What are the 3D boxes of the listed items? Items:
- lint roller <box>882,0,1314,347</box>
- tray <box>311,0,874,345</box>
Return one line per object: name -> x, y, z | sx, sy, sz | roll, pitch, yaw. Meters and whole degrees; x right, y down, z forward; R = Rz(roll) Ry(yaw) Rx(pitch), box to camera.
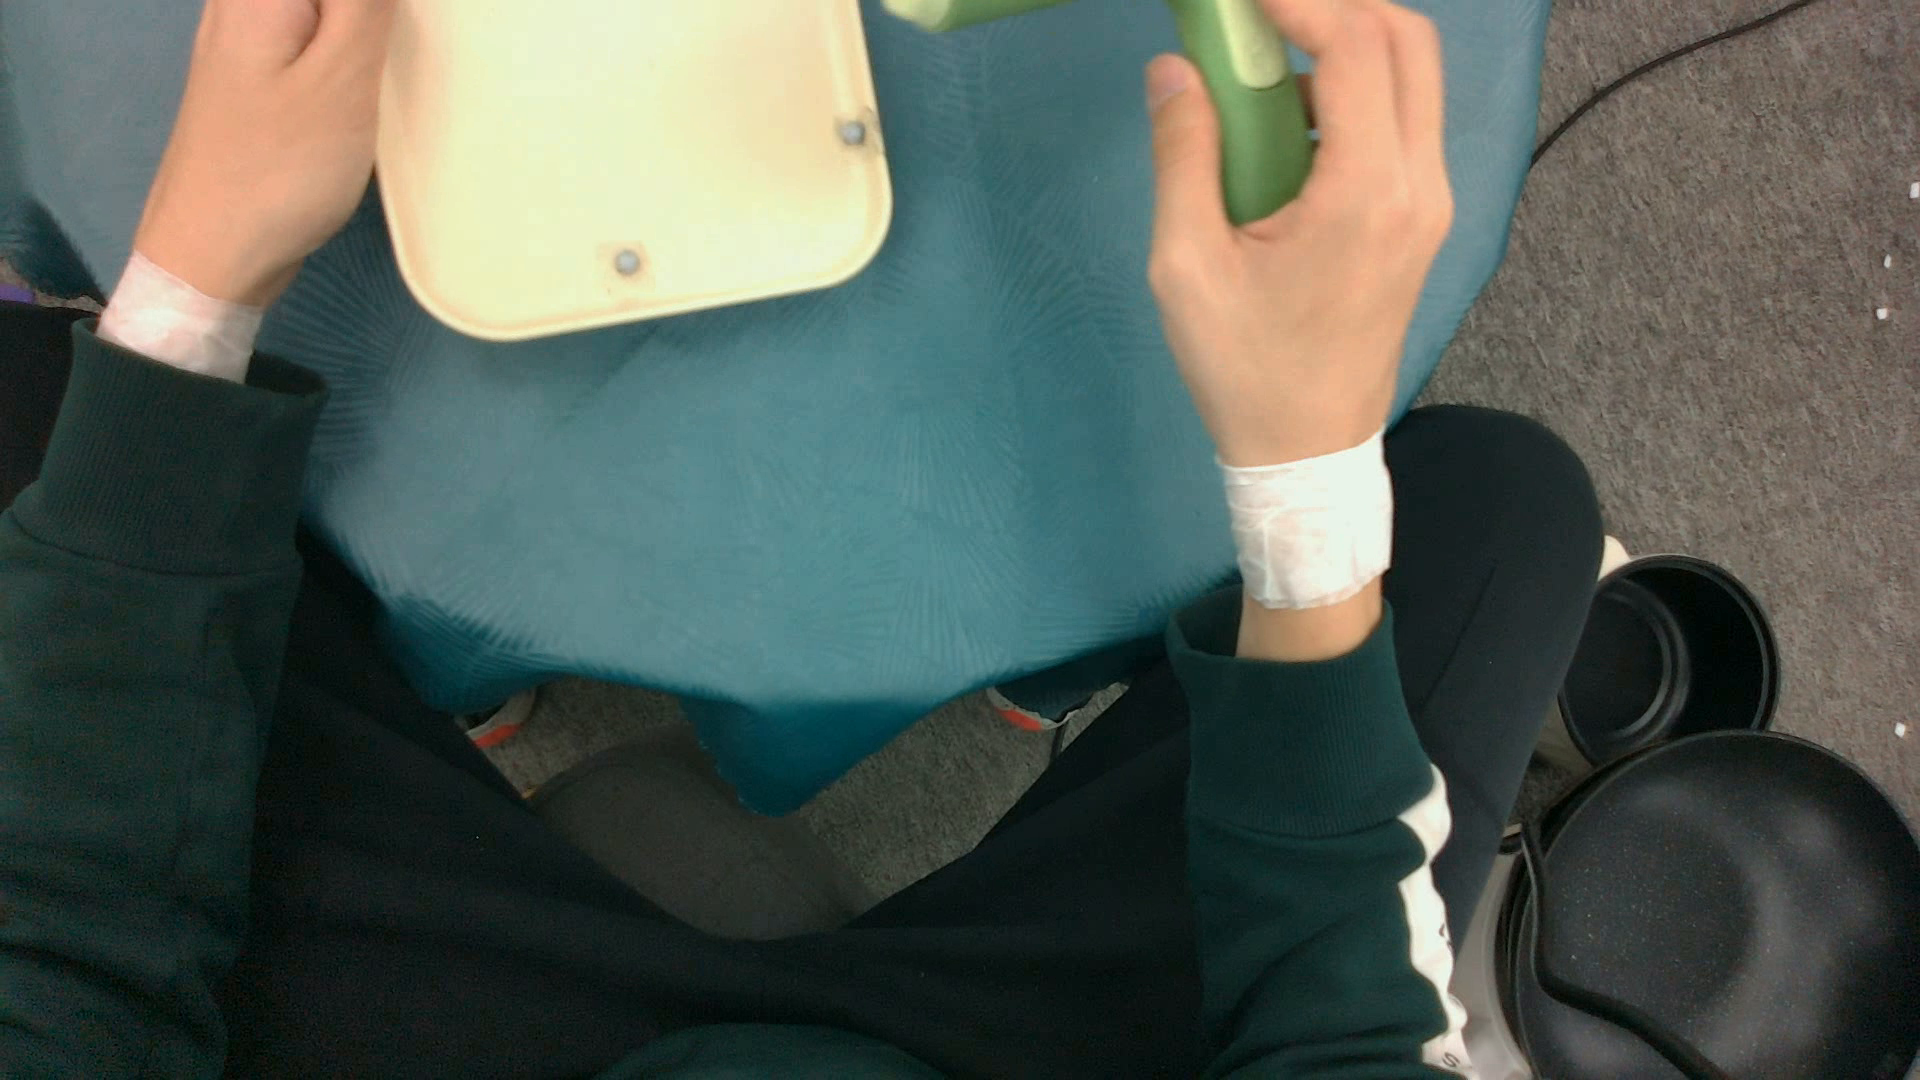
lint roller -> 0.085, -0.148, 0.404 | 0.199, 0.082, 0.183 | -19, 98, -18
tray -> -0.133, -0.196, 0.472 | 0.171, 0.017, 0.239 | -15, 100, -16
